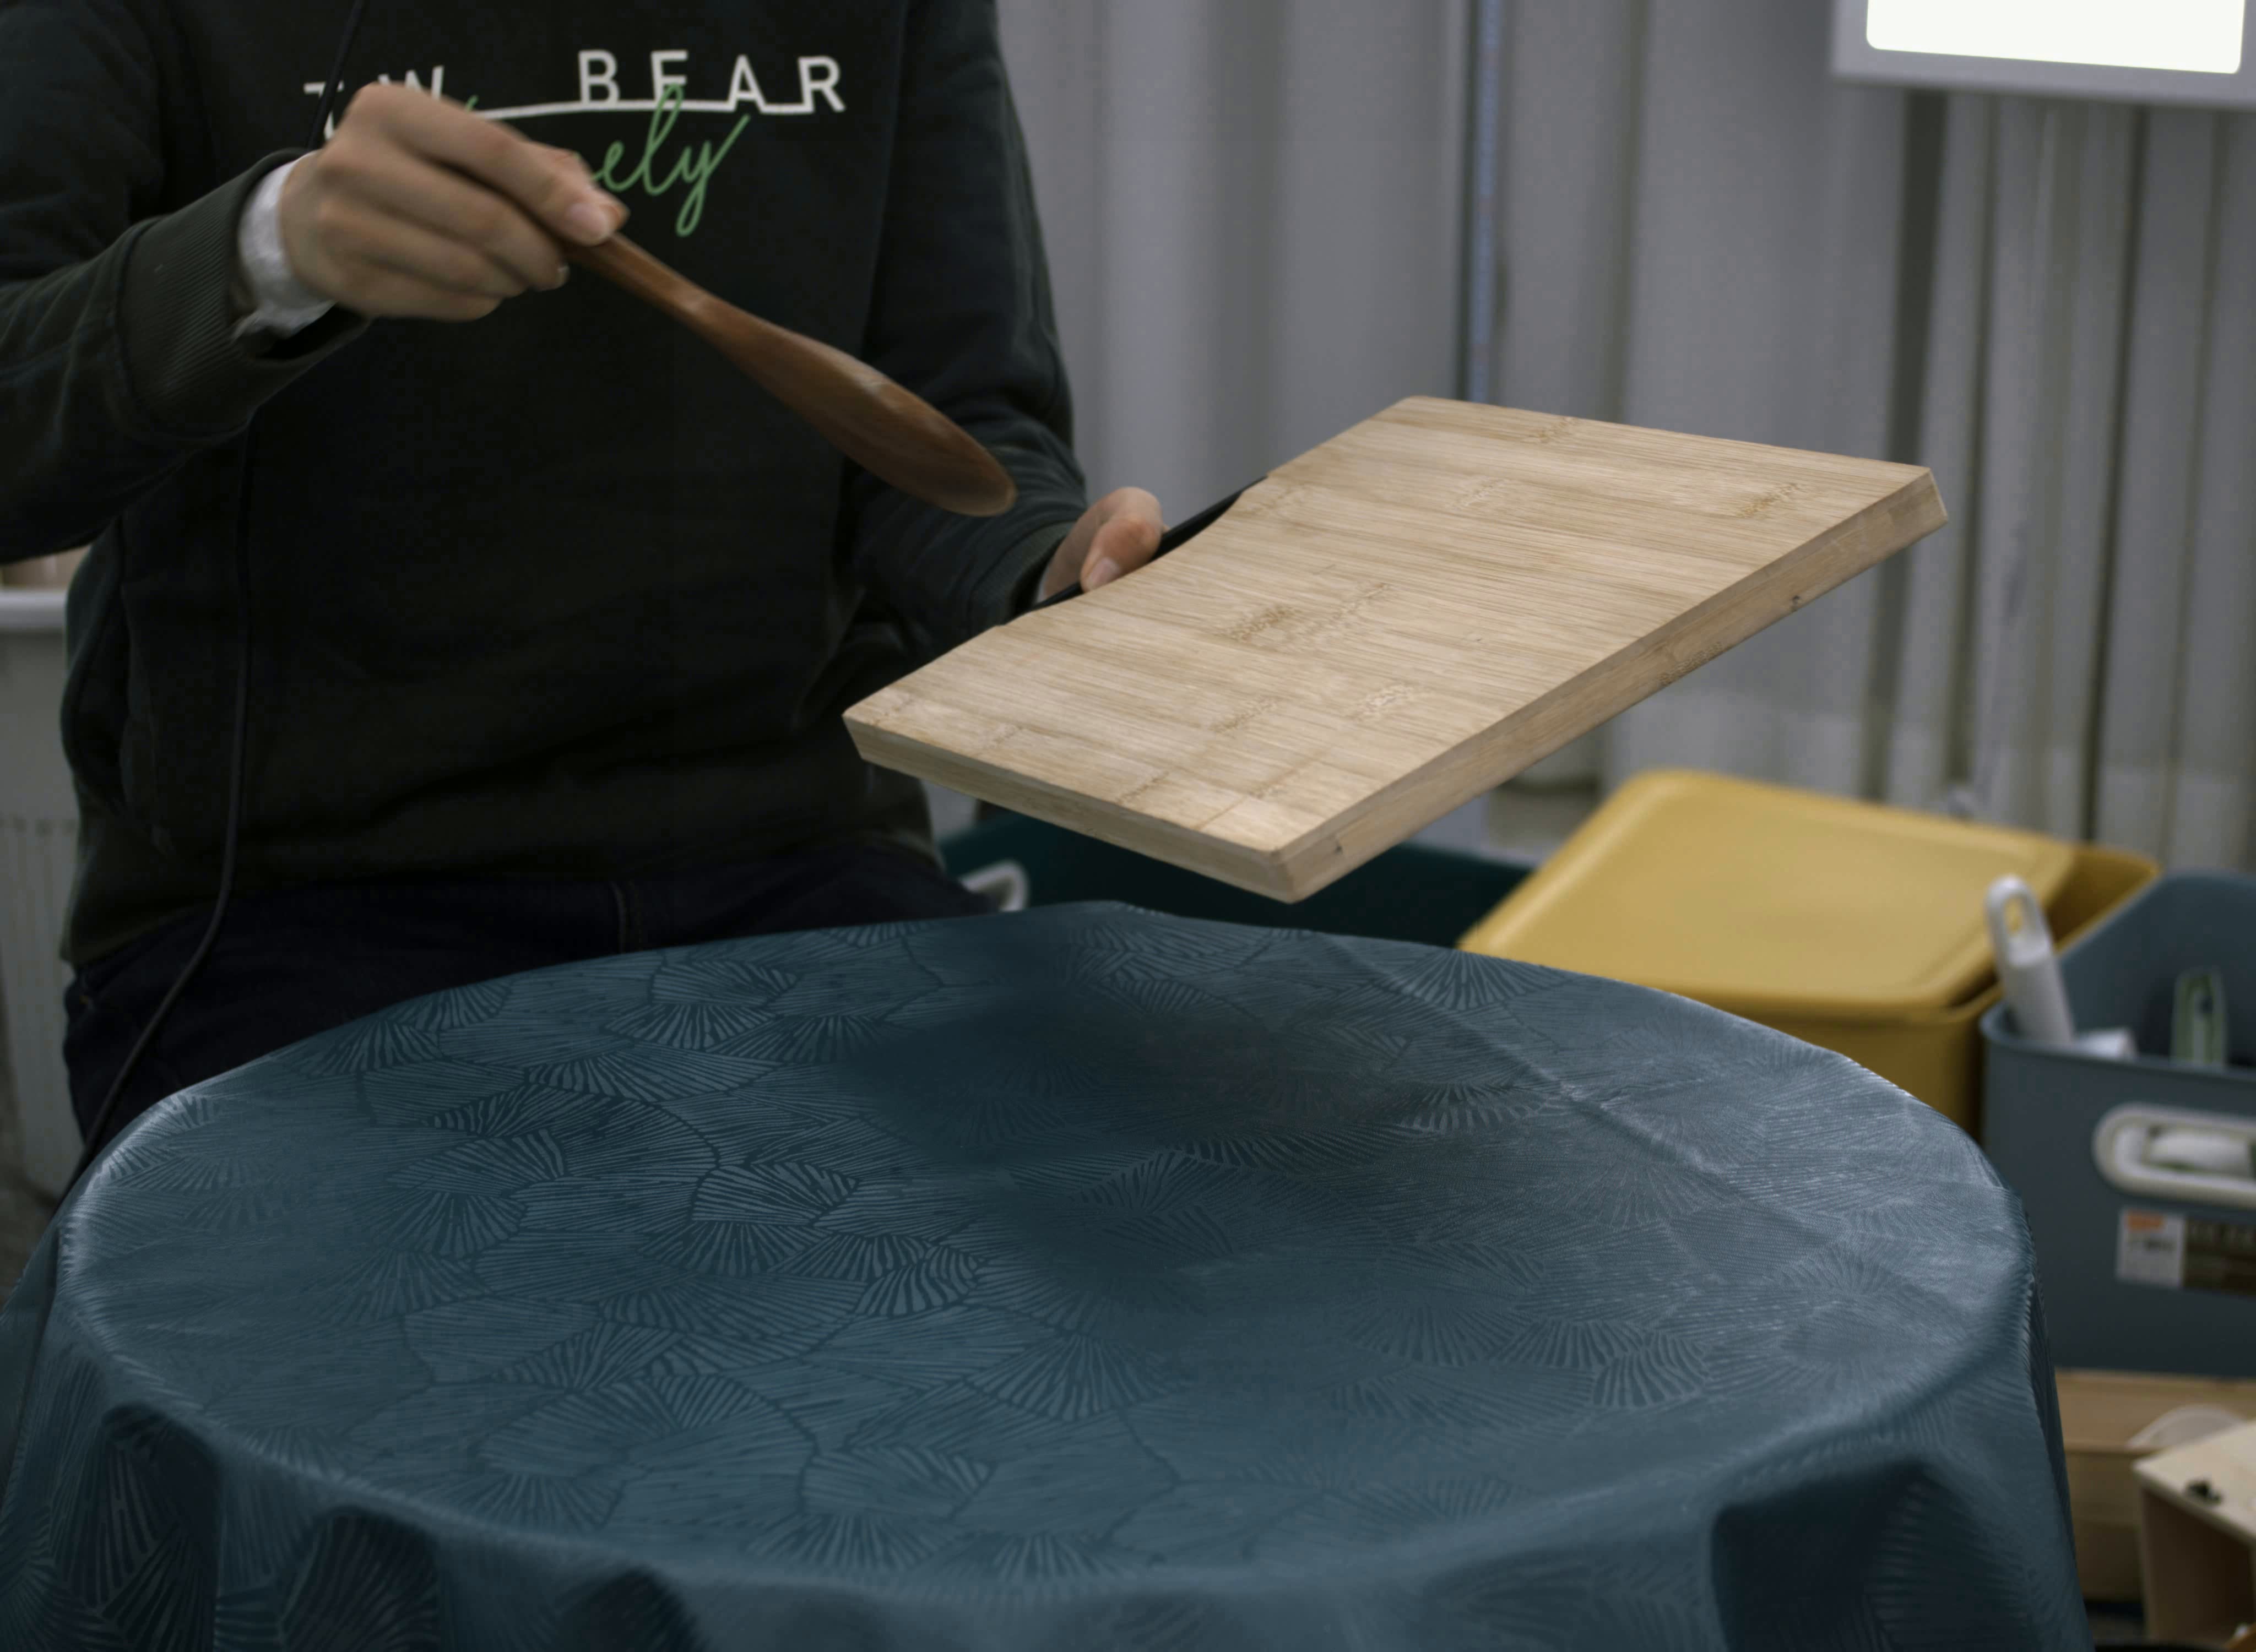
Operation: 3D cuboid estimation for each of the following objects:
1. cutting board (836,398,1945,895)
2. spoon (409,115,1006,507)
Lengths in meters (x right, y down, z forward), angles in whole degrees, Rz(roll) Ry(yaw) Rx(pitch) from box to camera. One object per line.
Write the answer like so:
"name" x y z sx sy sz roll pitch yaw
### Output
"cutting board" 0.072 -0.065 1.675 0.251 0.024 0.345 -29 19 -19
"spoon" -0.129 -0.154 1.602 0.215 0.017 0.076 33 -5 7
